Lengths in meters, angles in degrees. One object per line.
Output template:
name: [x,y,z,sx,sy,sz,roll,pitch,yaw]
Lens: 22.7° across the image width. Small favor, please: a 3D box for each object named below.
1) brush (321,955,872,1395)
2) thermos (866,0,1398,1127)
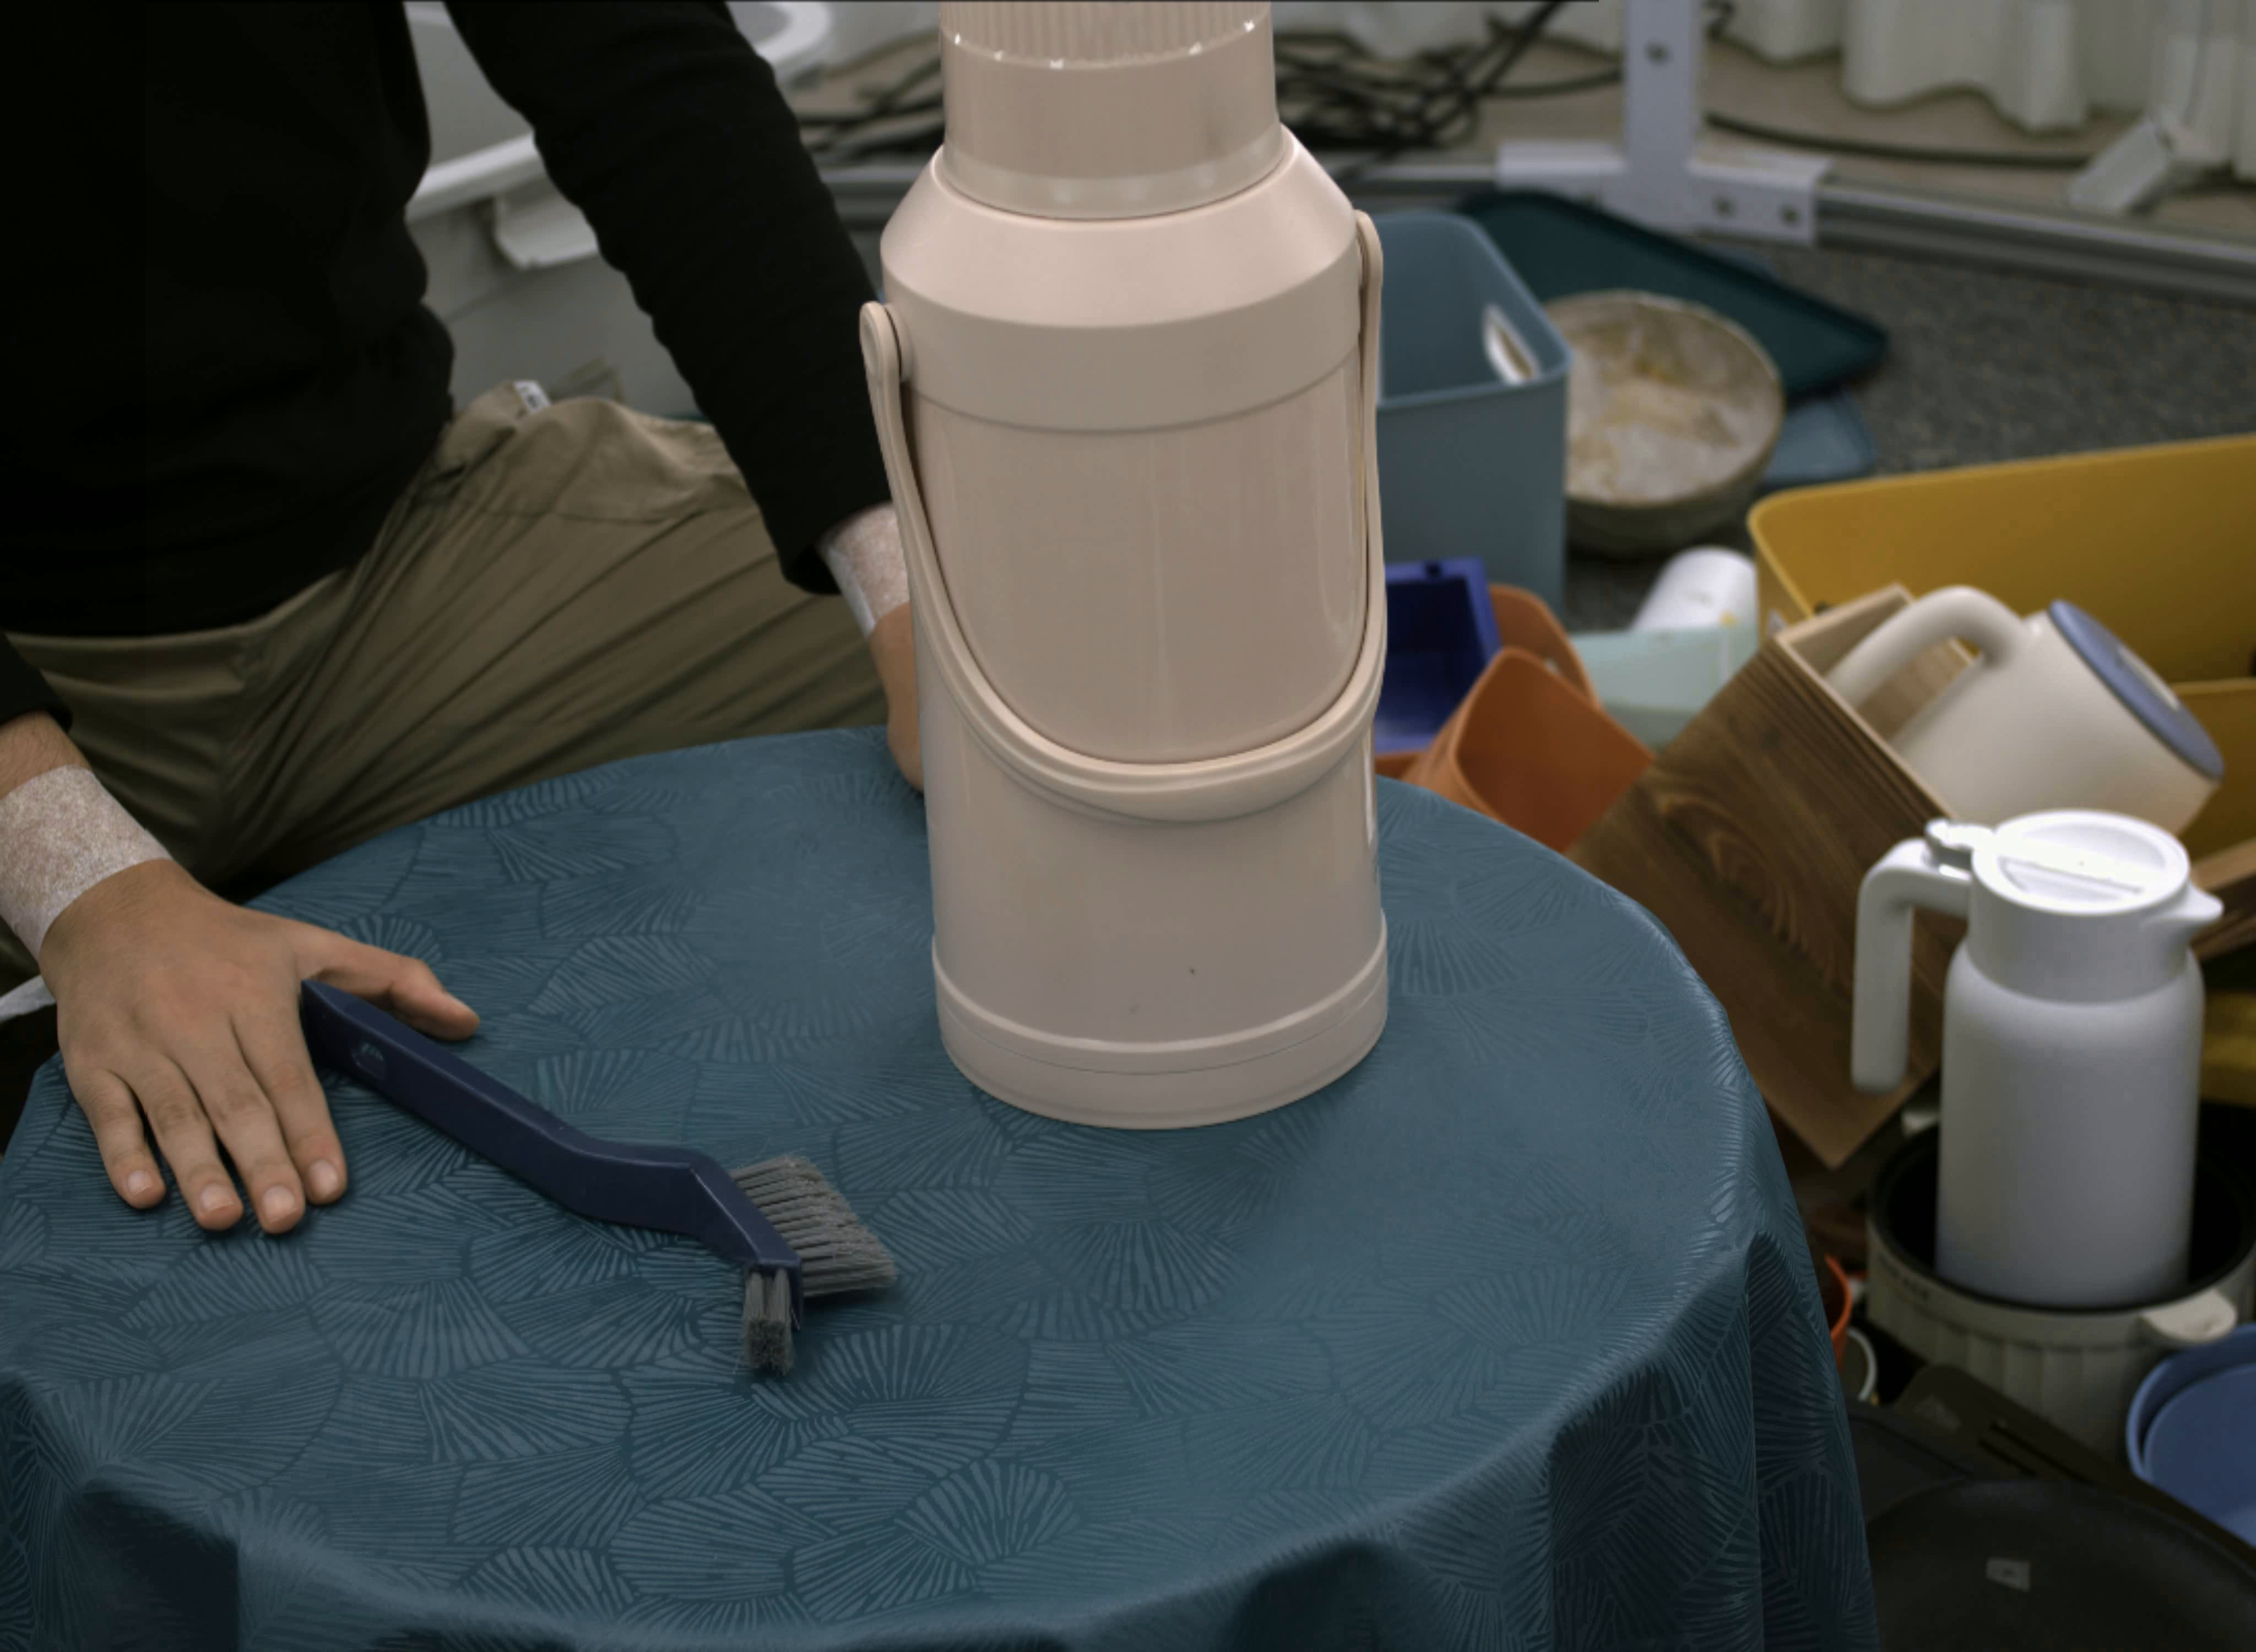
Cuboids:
brush: [-0.195,0.111,1.864,0.272,0.033,0.097,21,35,34]
thermos: [0.001,-0.116,1.894,0.176,0.402,0.208,-14,28,-17]
